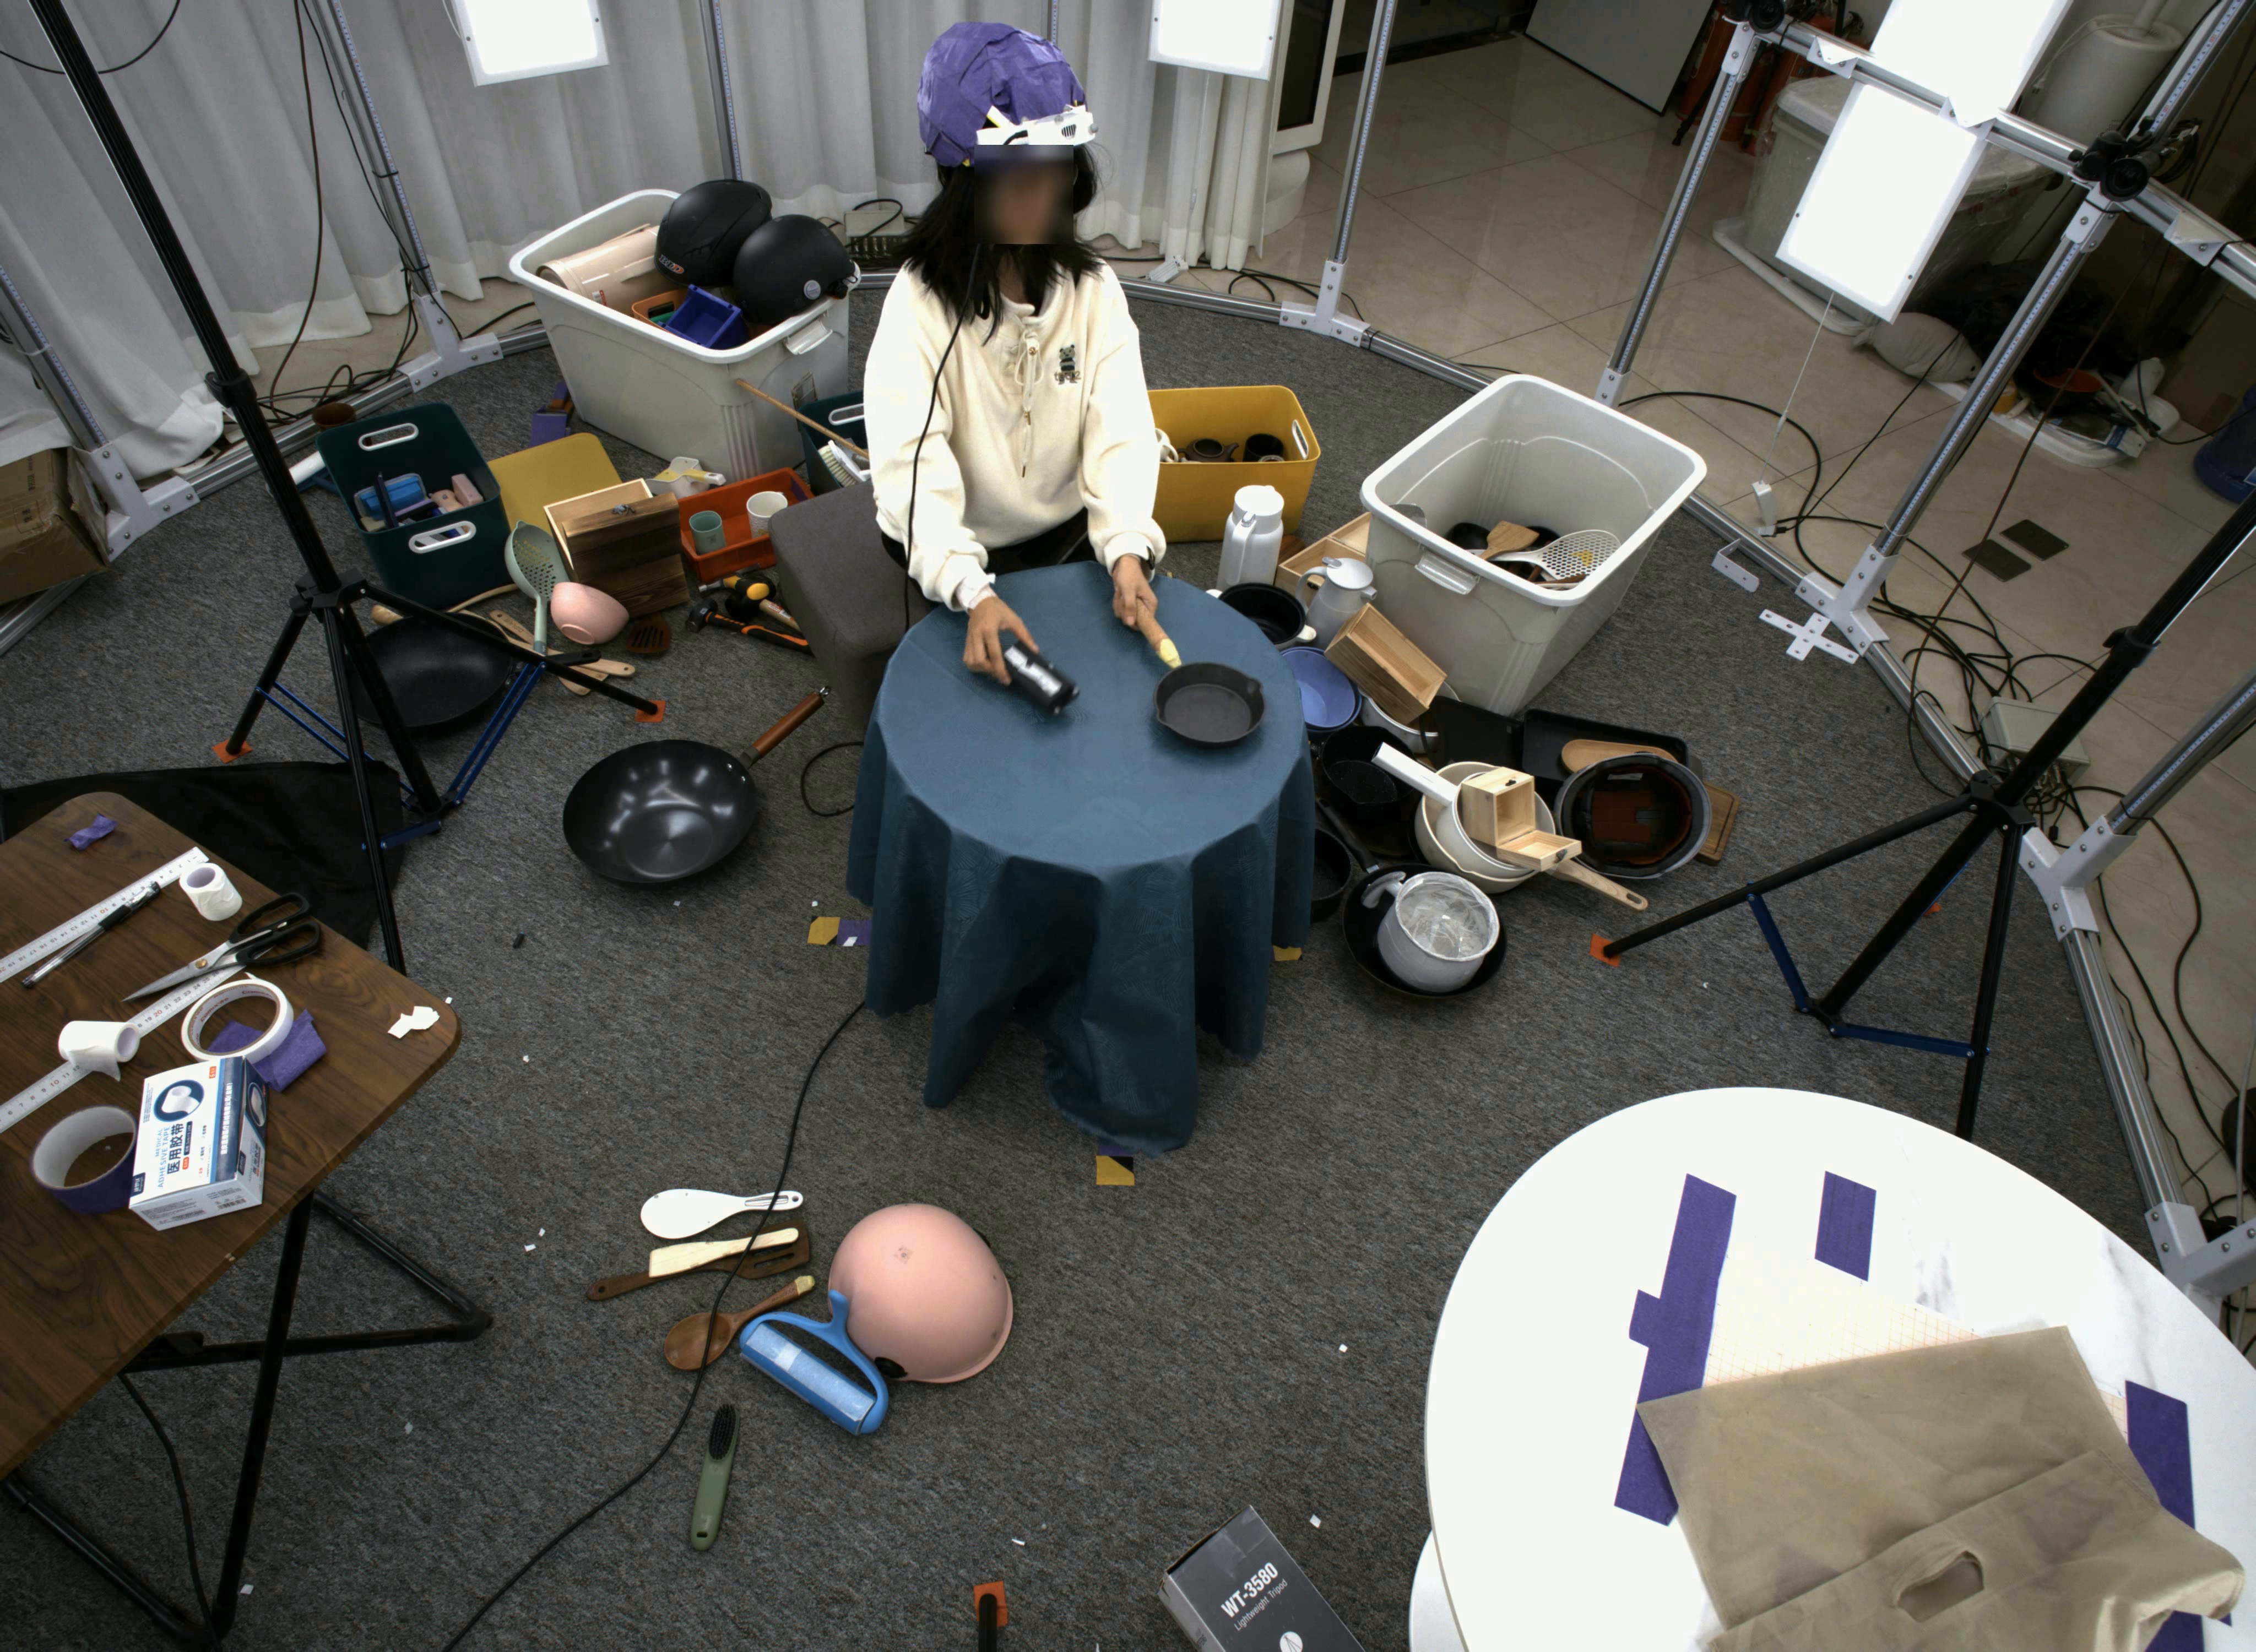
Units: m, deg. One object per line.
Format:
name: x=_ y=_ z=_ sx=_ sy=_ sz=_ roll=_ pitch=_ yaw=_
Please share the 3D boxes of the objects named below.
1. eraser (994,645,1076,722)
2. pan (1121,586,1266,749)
eraser: x=-0.129 y=-0.201 z=1.799 sx=0.054 sy=0.030 sz=0.128 roll=-37 pitch=57 yaw=-15
pan: x=0.074 y=-0.230 z=1.841 sx=0.169 sy=0.048 sz=0.331 roll=-20 pitch=54 yaw=-19
